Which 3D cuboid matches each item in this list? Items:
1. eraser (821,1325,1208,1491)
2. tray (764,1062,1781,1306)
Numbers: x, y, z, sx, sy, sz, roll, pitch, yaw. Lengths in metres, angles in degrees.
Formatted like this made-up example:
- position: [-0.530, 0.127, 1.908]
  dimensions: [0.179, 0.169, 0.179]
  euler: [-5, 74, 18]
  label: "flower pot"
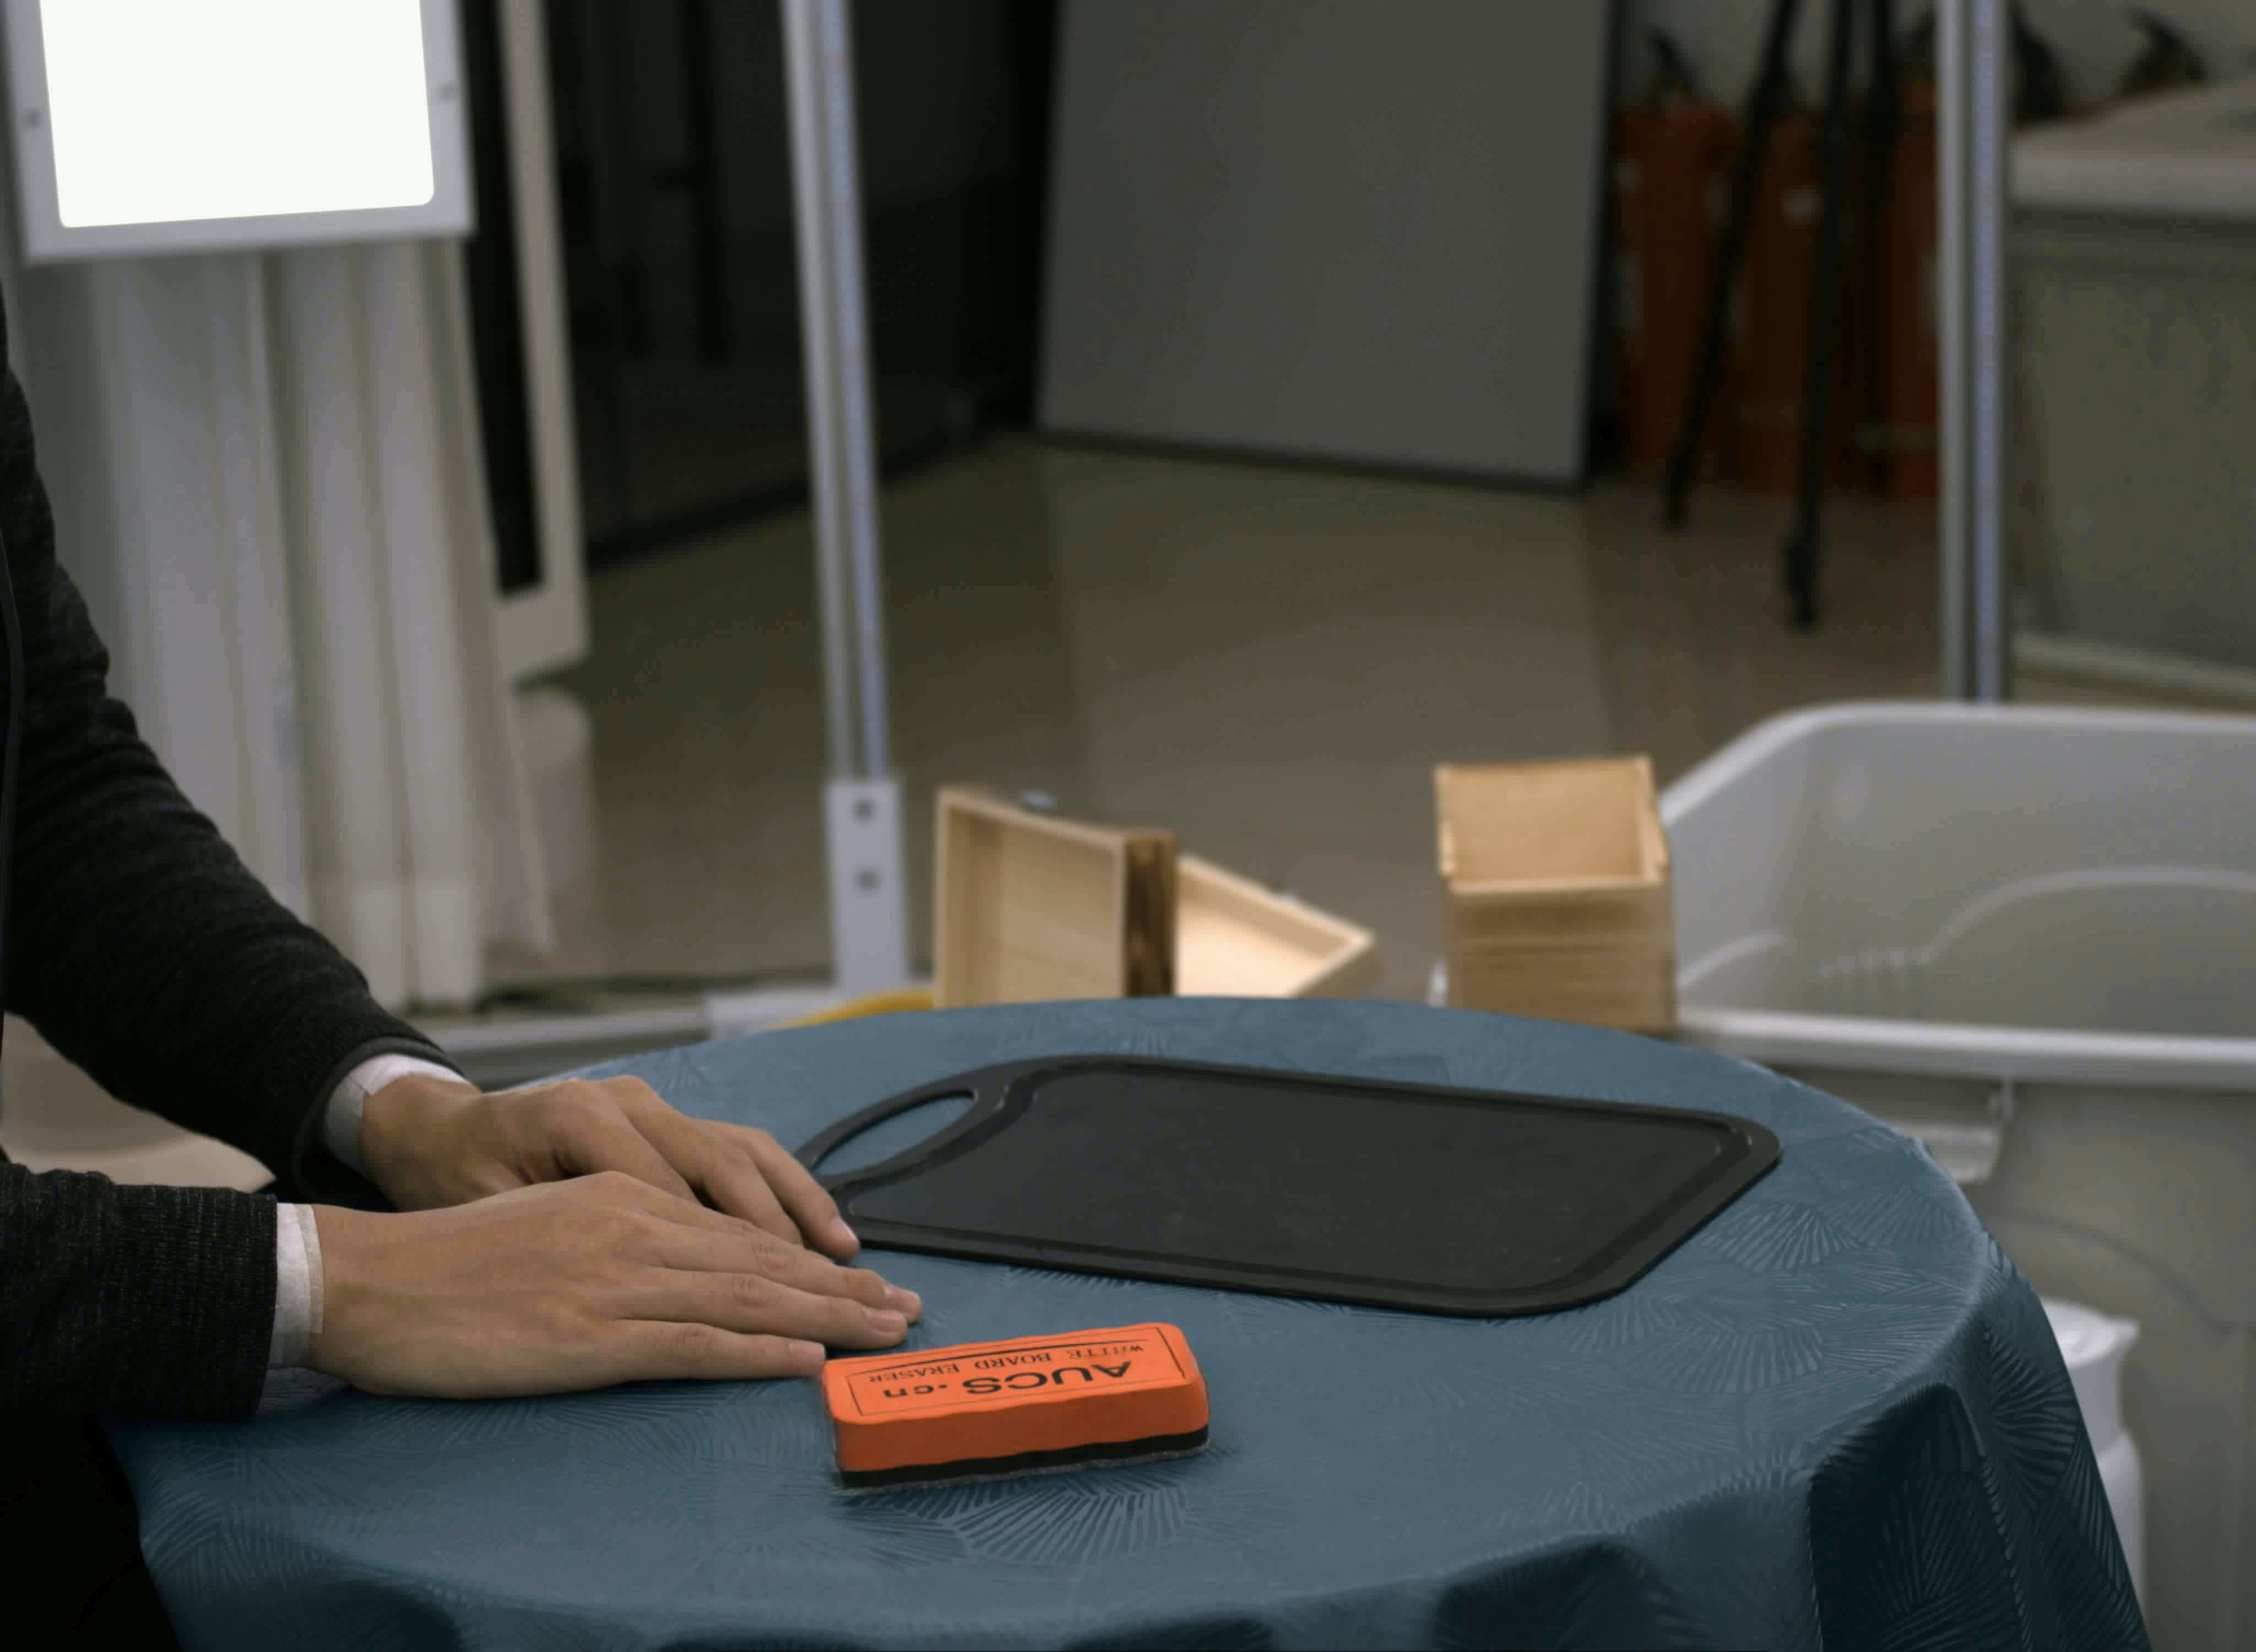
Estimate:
- position: [-0.033, 0.166, 1.545]
  dimensions: [0.106, 0.023, 0.059]
  euler: [-6, 12, -7]
  label: "eraser"
- position: [0.040, 0.114, 1.774]
  dimensions: [0.326, 0.010, 0.208]
  euler: [4, 15, 30]
  label: "tray"
